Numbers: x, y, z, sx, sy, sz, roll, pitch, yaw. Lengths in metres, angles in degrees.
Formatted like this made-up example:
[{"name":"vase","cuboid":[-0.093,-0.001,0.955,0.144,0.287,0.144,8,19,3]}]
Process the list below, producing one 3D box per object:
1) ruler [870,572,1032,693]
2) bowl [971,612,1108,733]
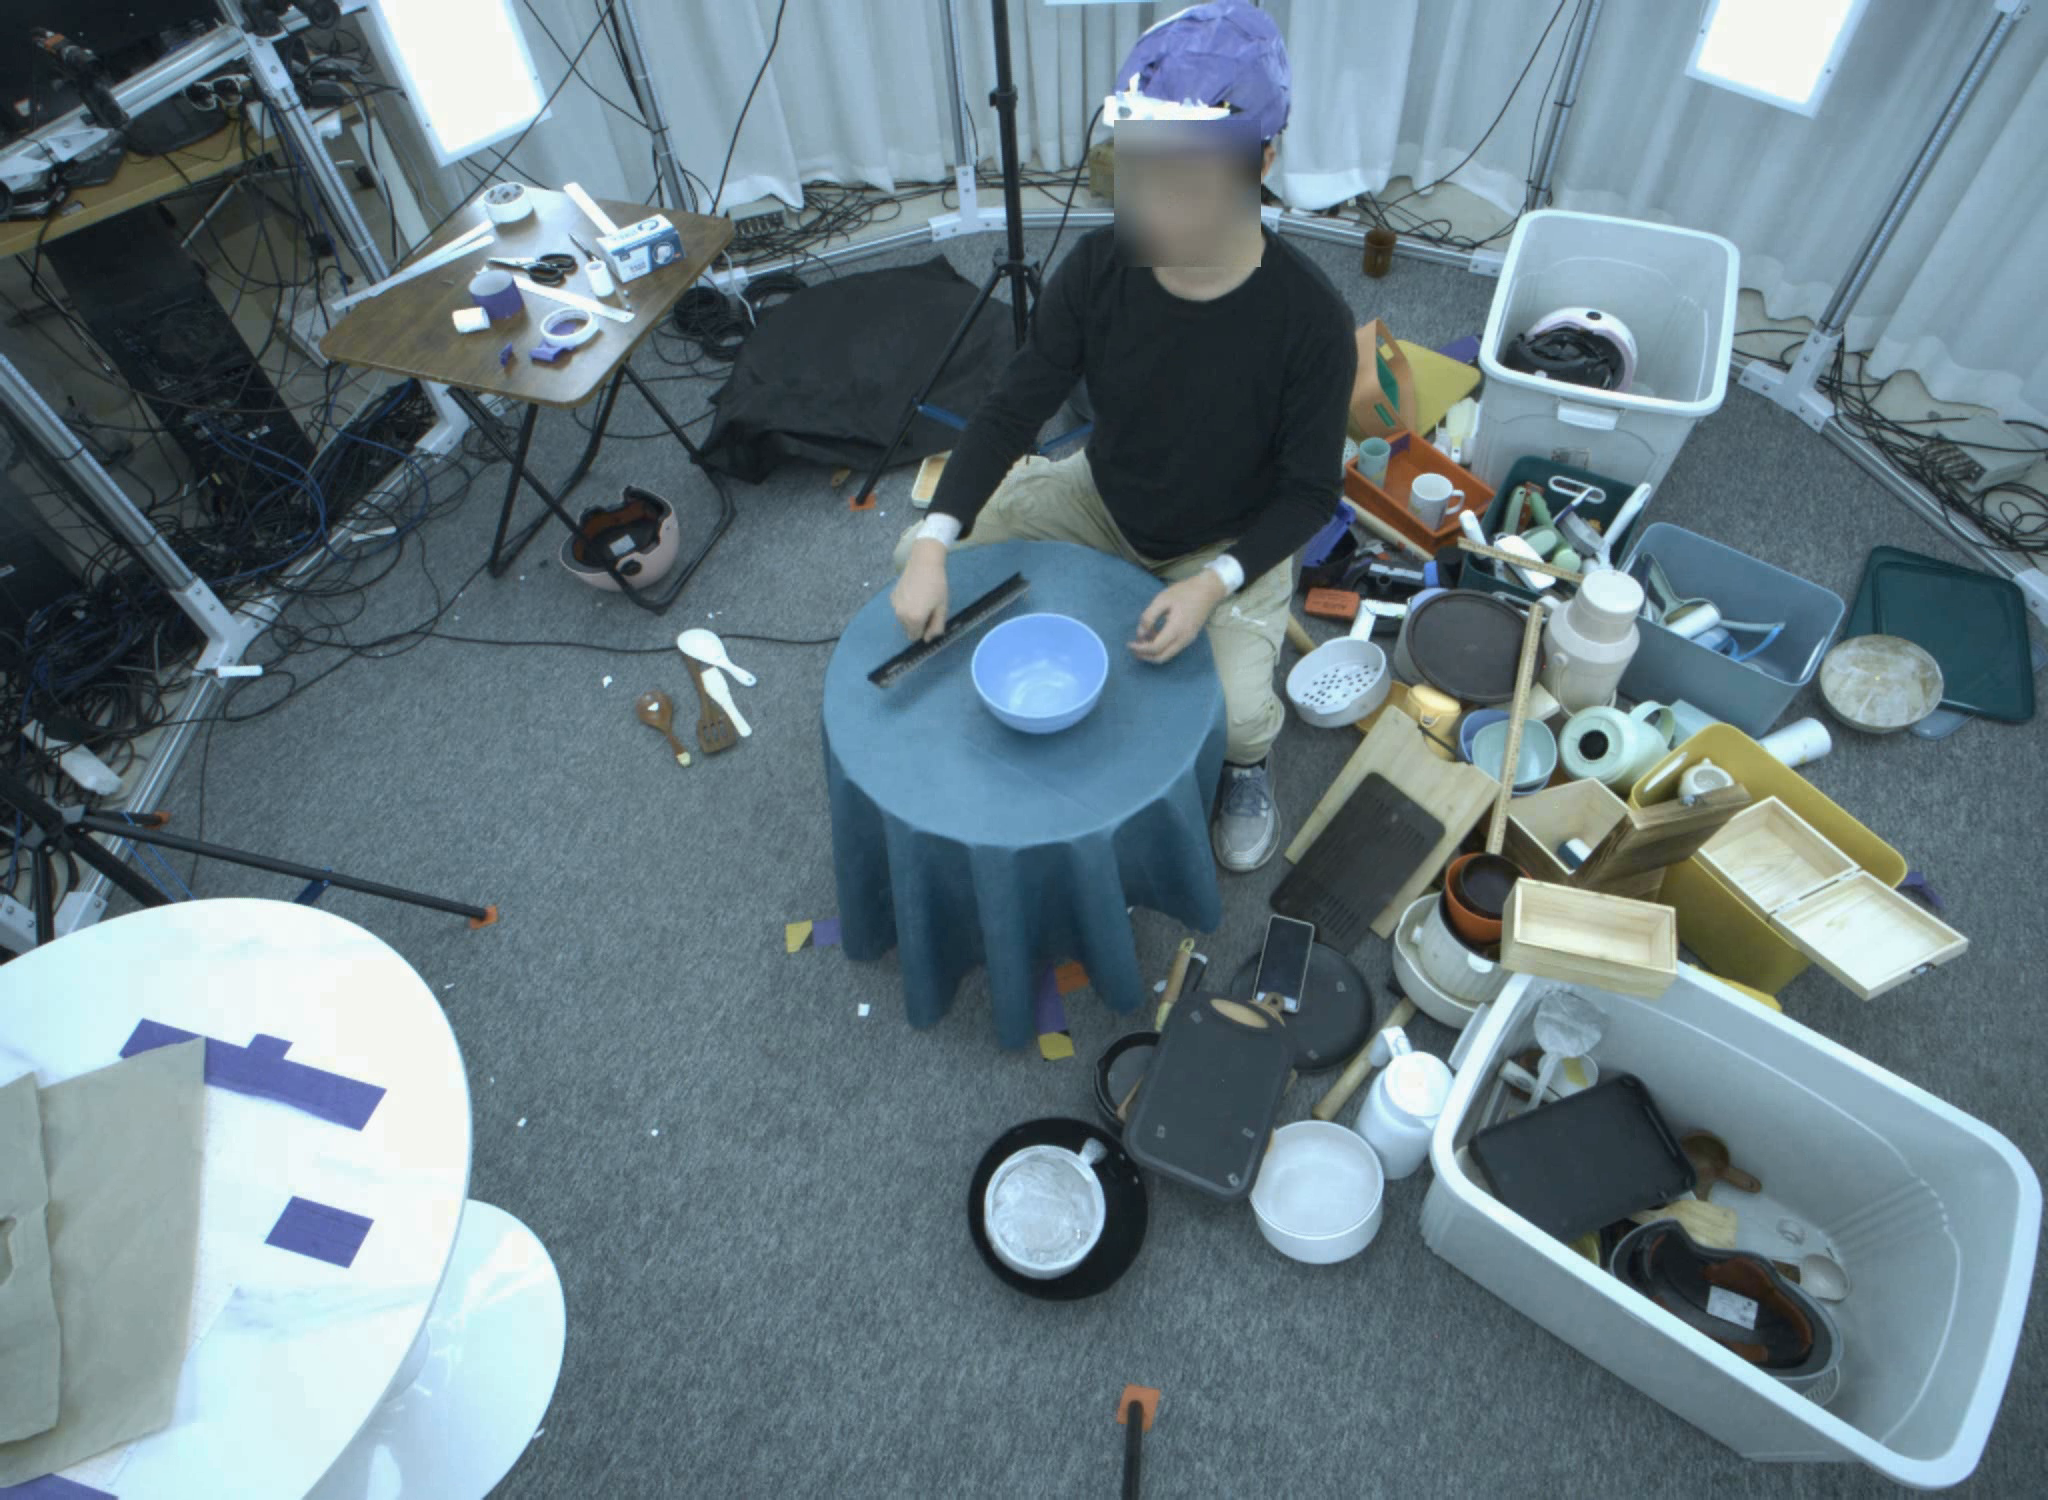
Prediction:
[{"name":"ruler","cuboid":[-0.109,-0.184,1.871,0.038,0.017,0.315,34,59,30]},{"name":"bowl","cuboid":[0.024,-0.098,1.797,0.196,0.096,0.194,-1,56,2]}]
